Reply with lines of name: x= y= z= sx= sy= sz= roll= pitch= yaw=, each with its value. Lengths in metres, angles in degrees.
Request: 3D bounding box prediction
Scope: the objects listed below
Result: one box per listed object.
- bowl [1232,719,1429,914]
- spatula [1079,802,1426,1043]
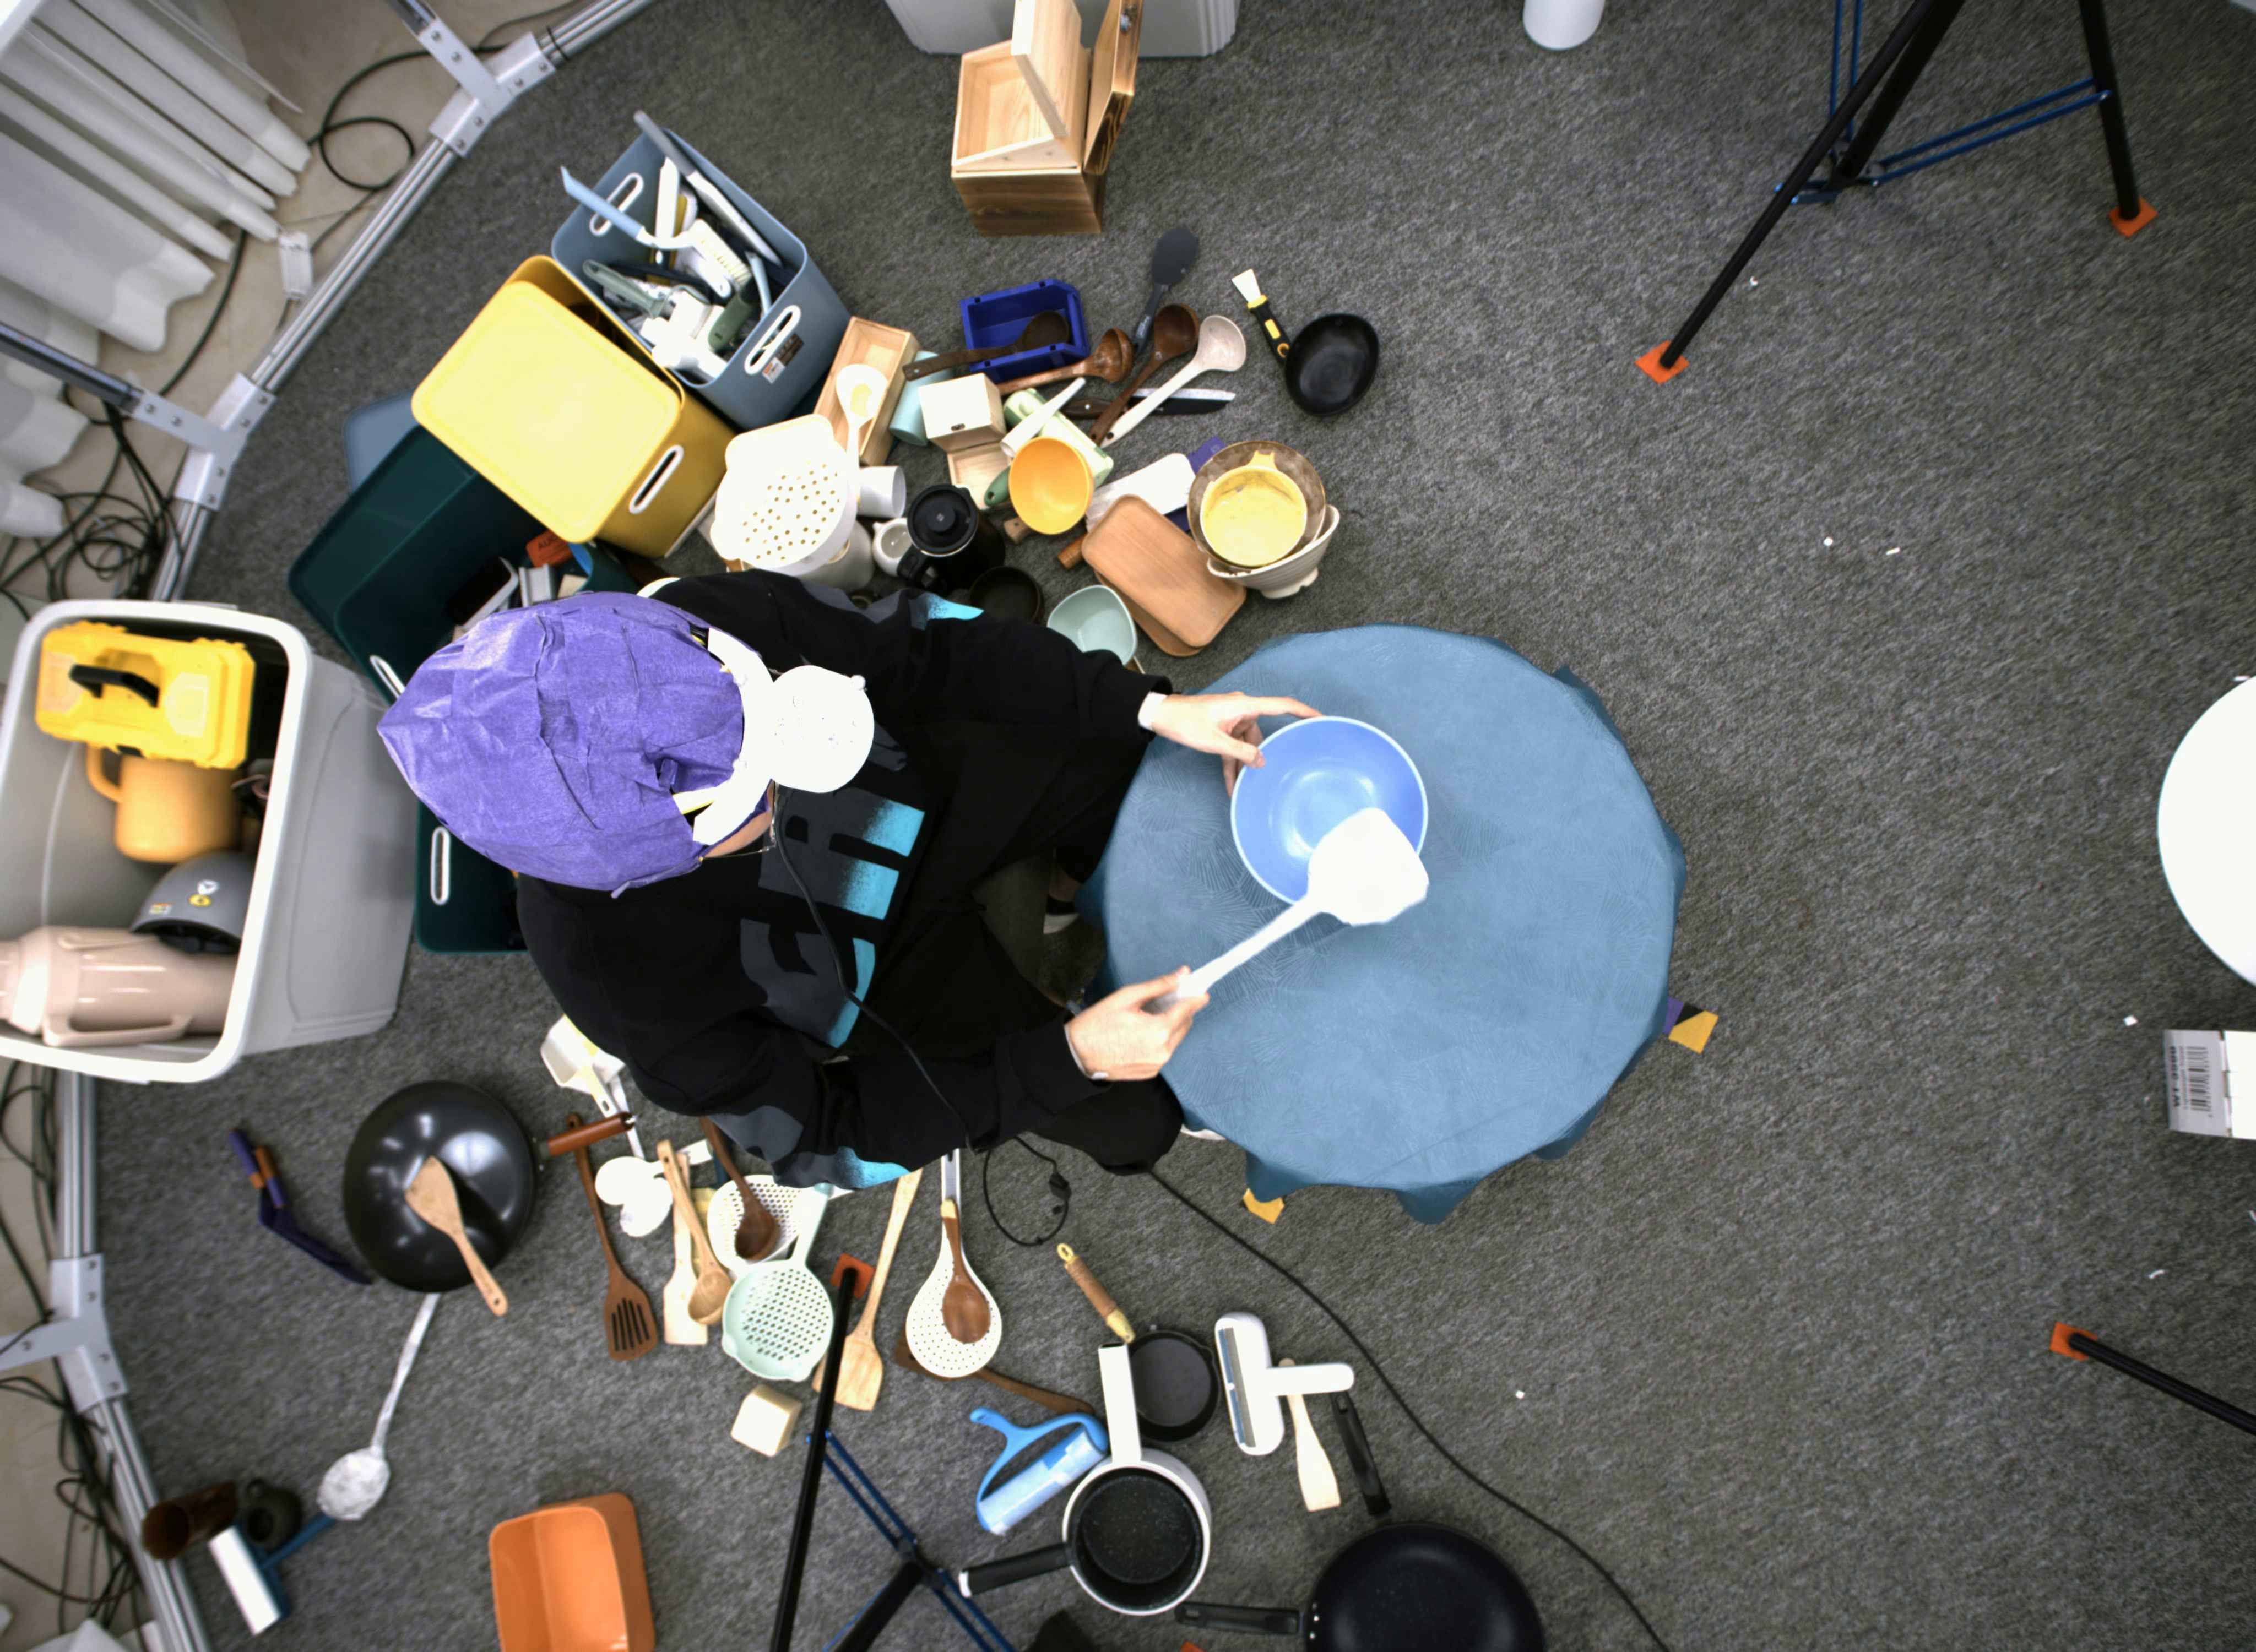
bowl: x=0.208 y=-0.008 z=1.429 sx=0.197 sy=0.095 sz=0.196 roll=0 pitch=90 yaw=8
spatula: x=0.112 y=0.107 z=1.306 sx=0.365 sy=0.044 sz=0.099 roll=-34 pitch=94 yaw=-1
